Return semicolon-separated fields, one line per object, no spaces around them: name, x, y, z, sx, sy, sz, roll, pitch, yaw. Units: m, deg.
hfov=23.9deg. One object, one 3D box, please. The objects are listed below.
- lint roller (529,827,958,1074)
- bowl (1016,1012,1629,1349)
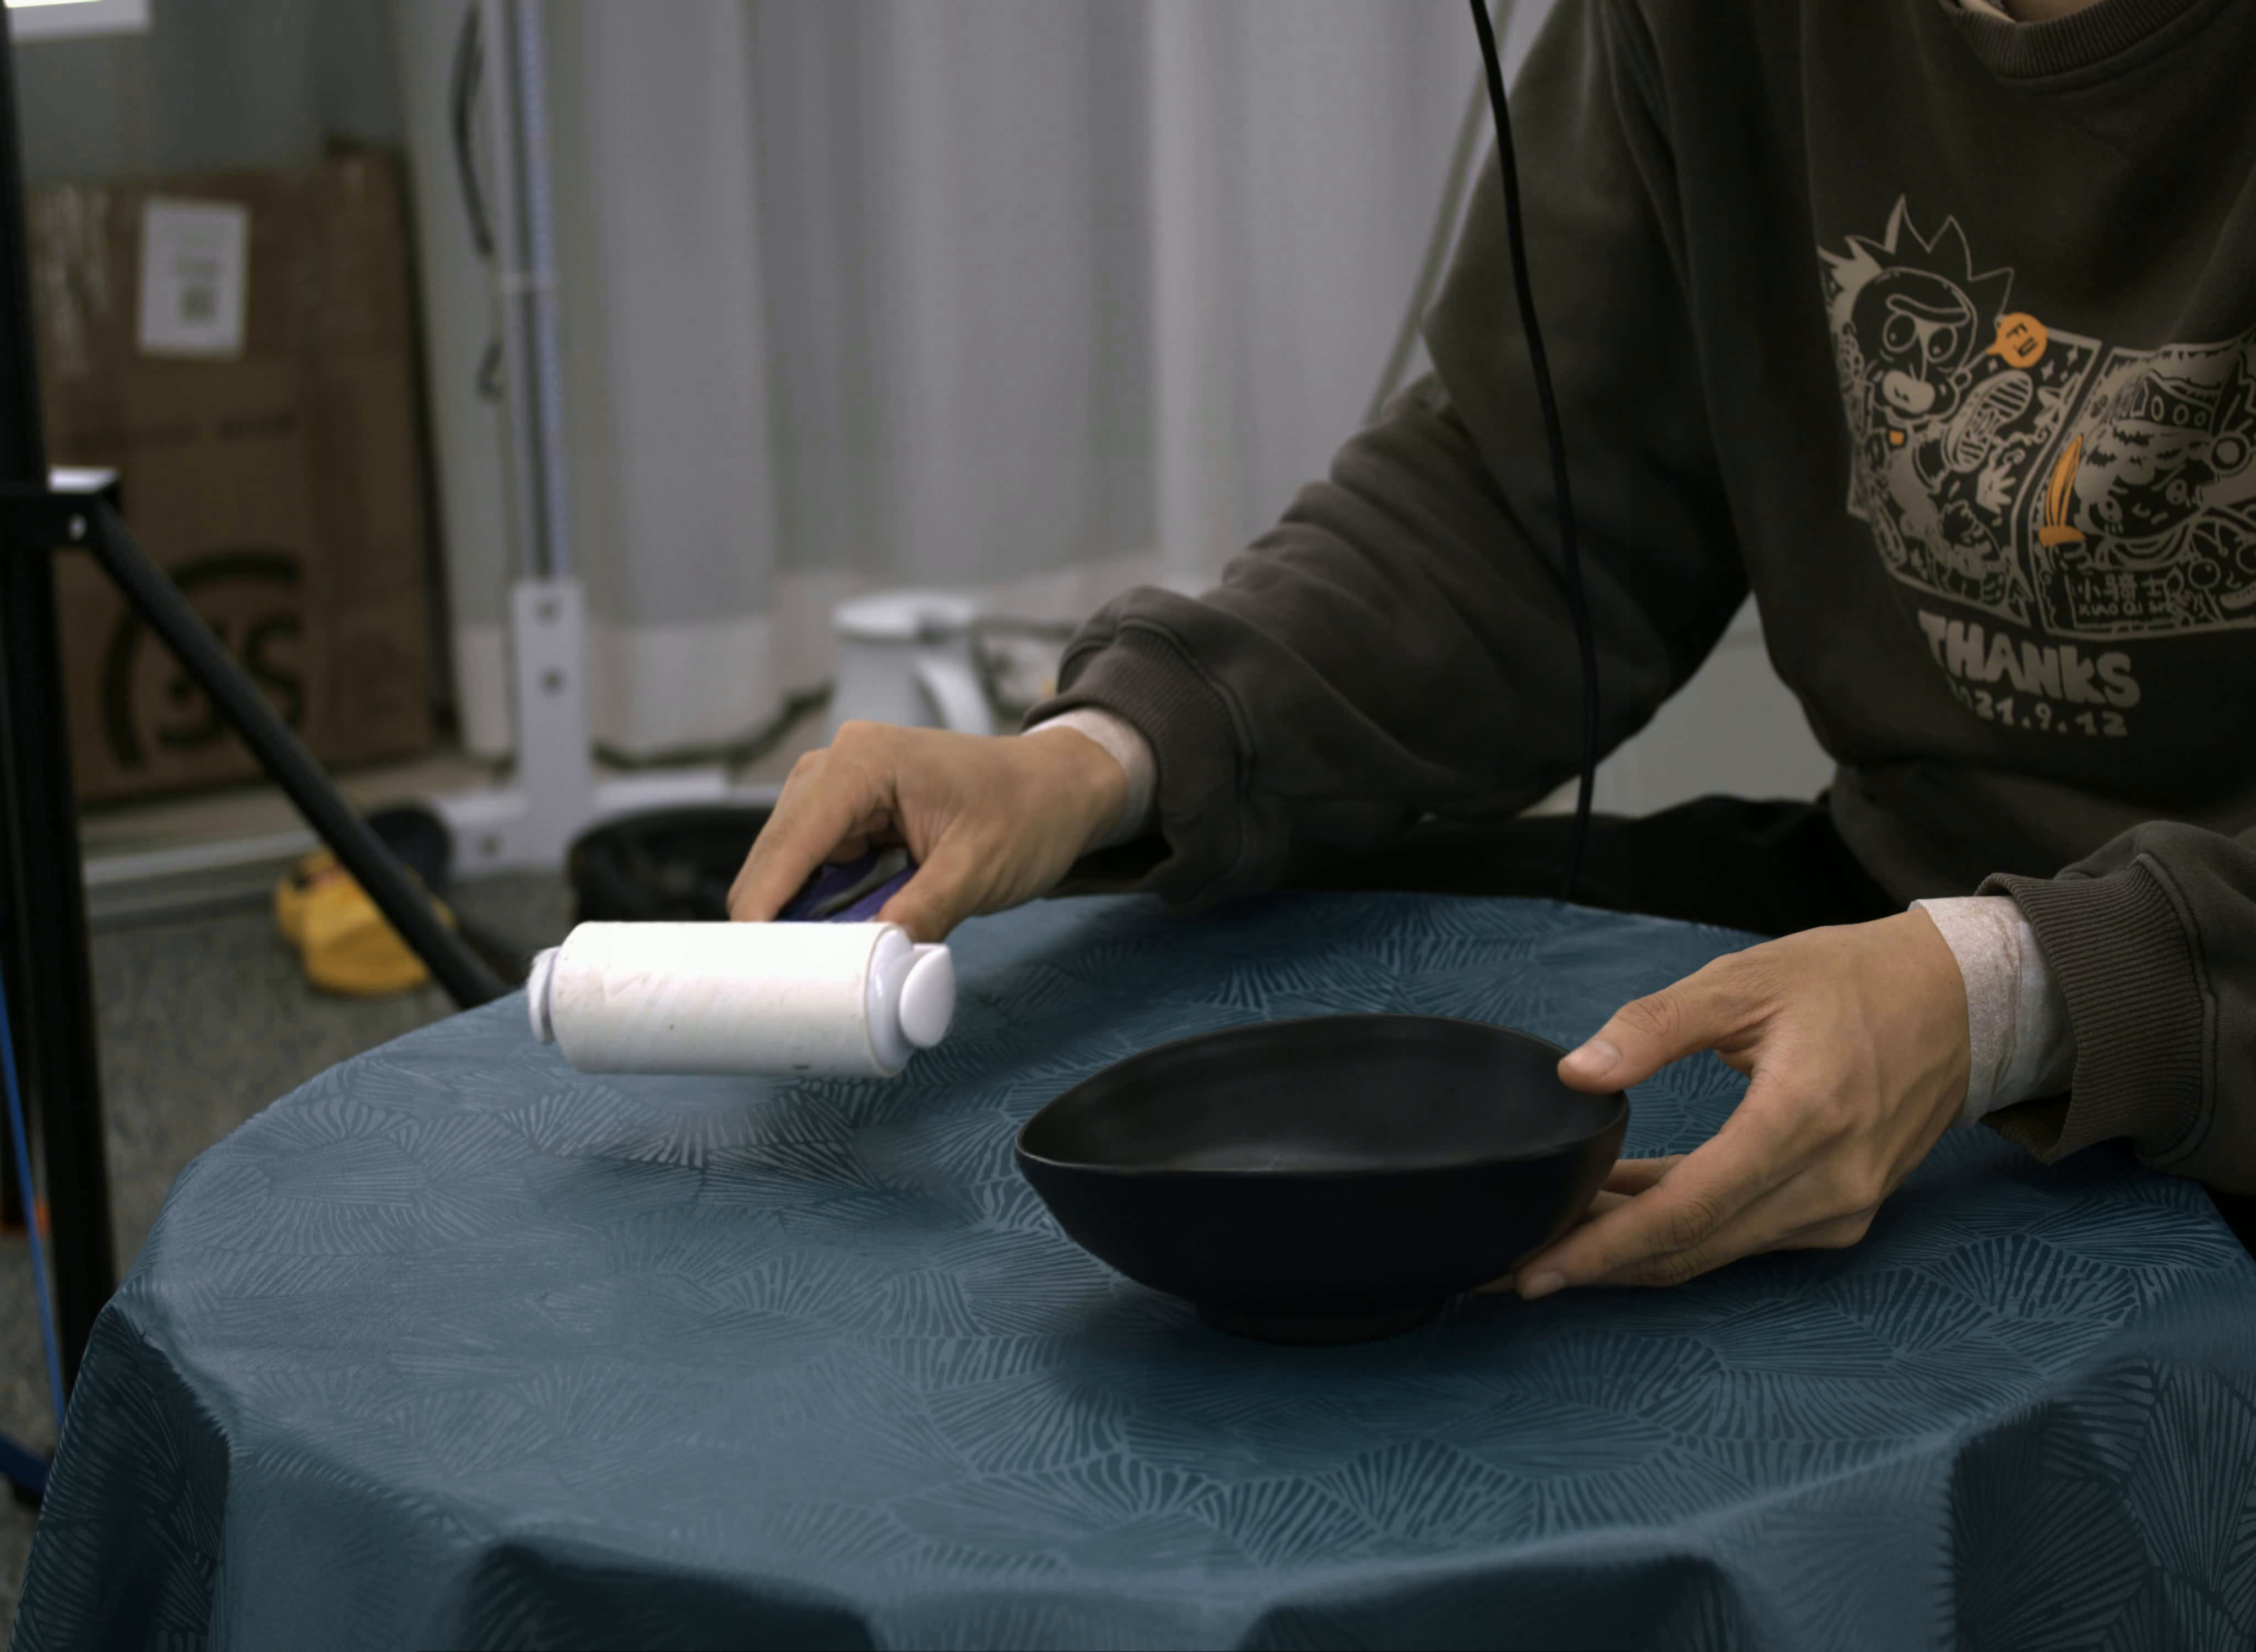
lint roller;-0.096;0.024;1.649;0.134;0.050;0.179;-1;25;21
bowl;0.054;0.103;1.457;0.170;0.067;0.137;-2;14;8
